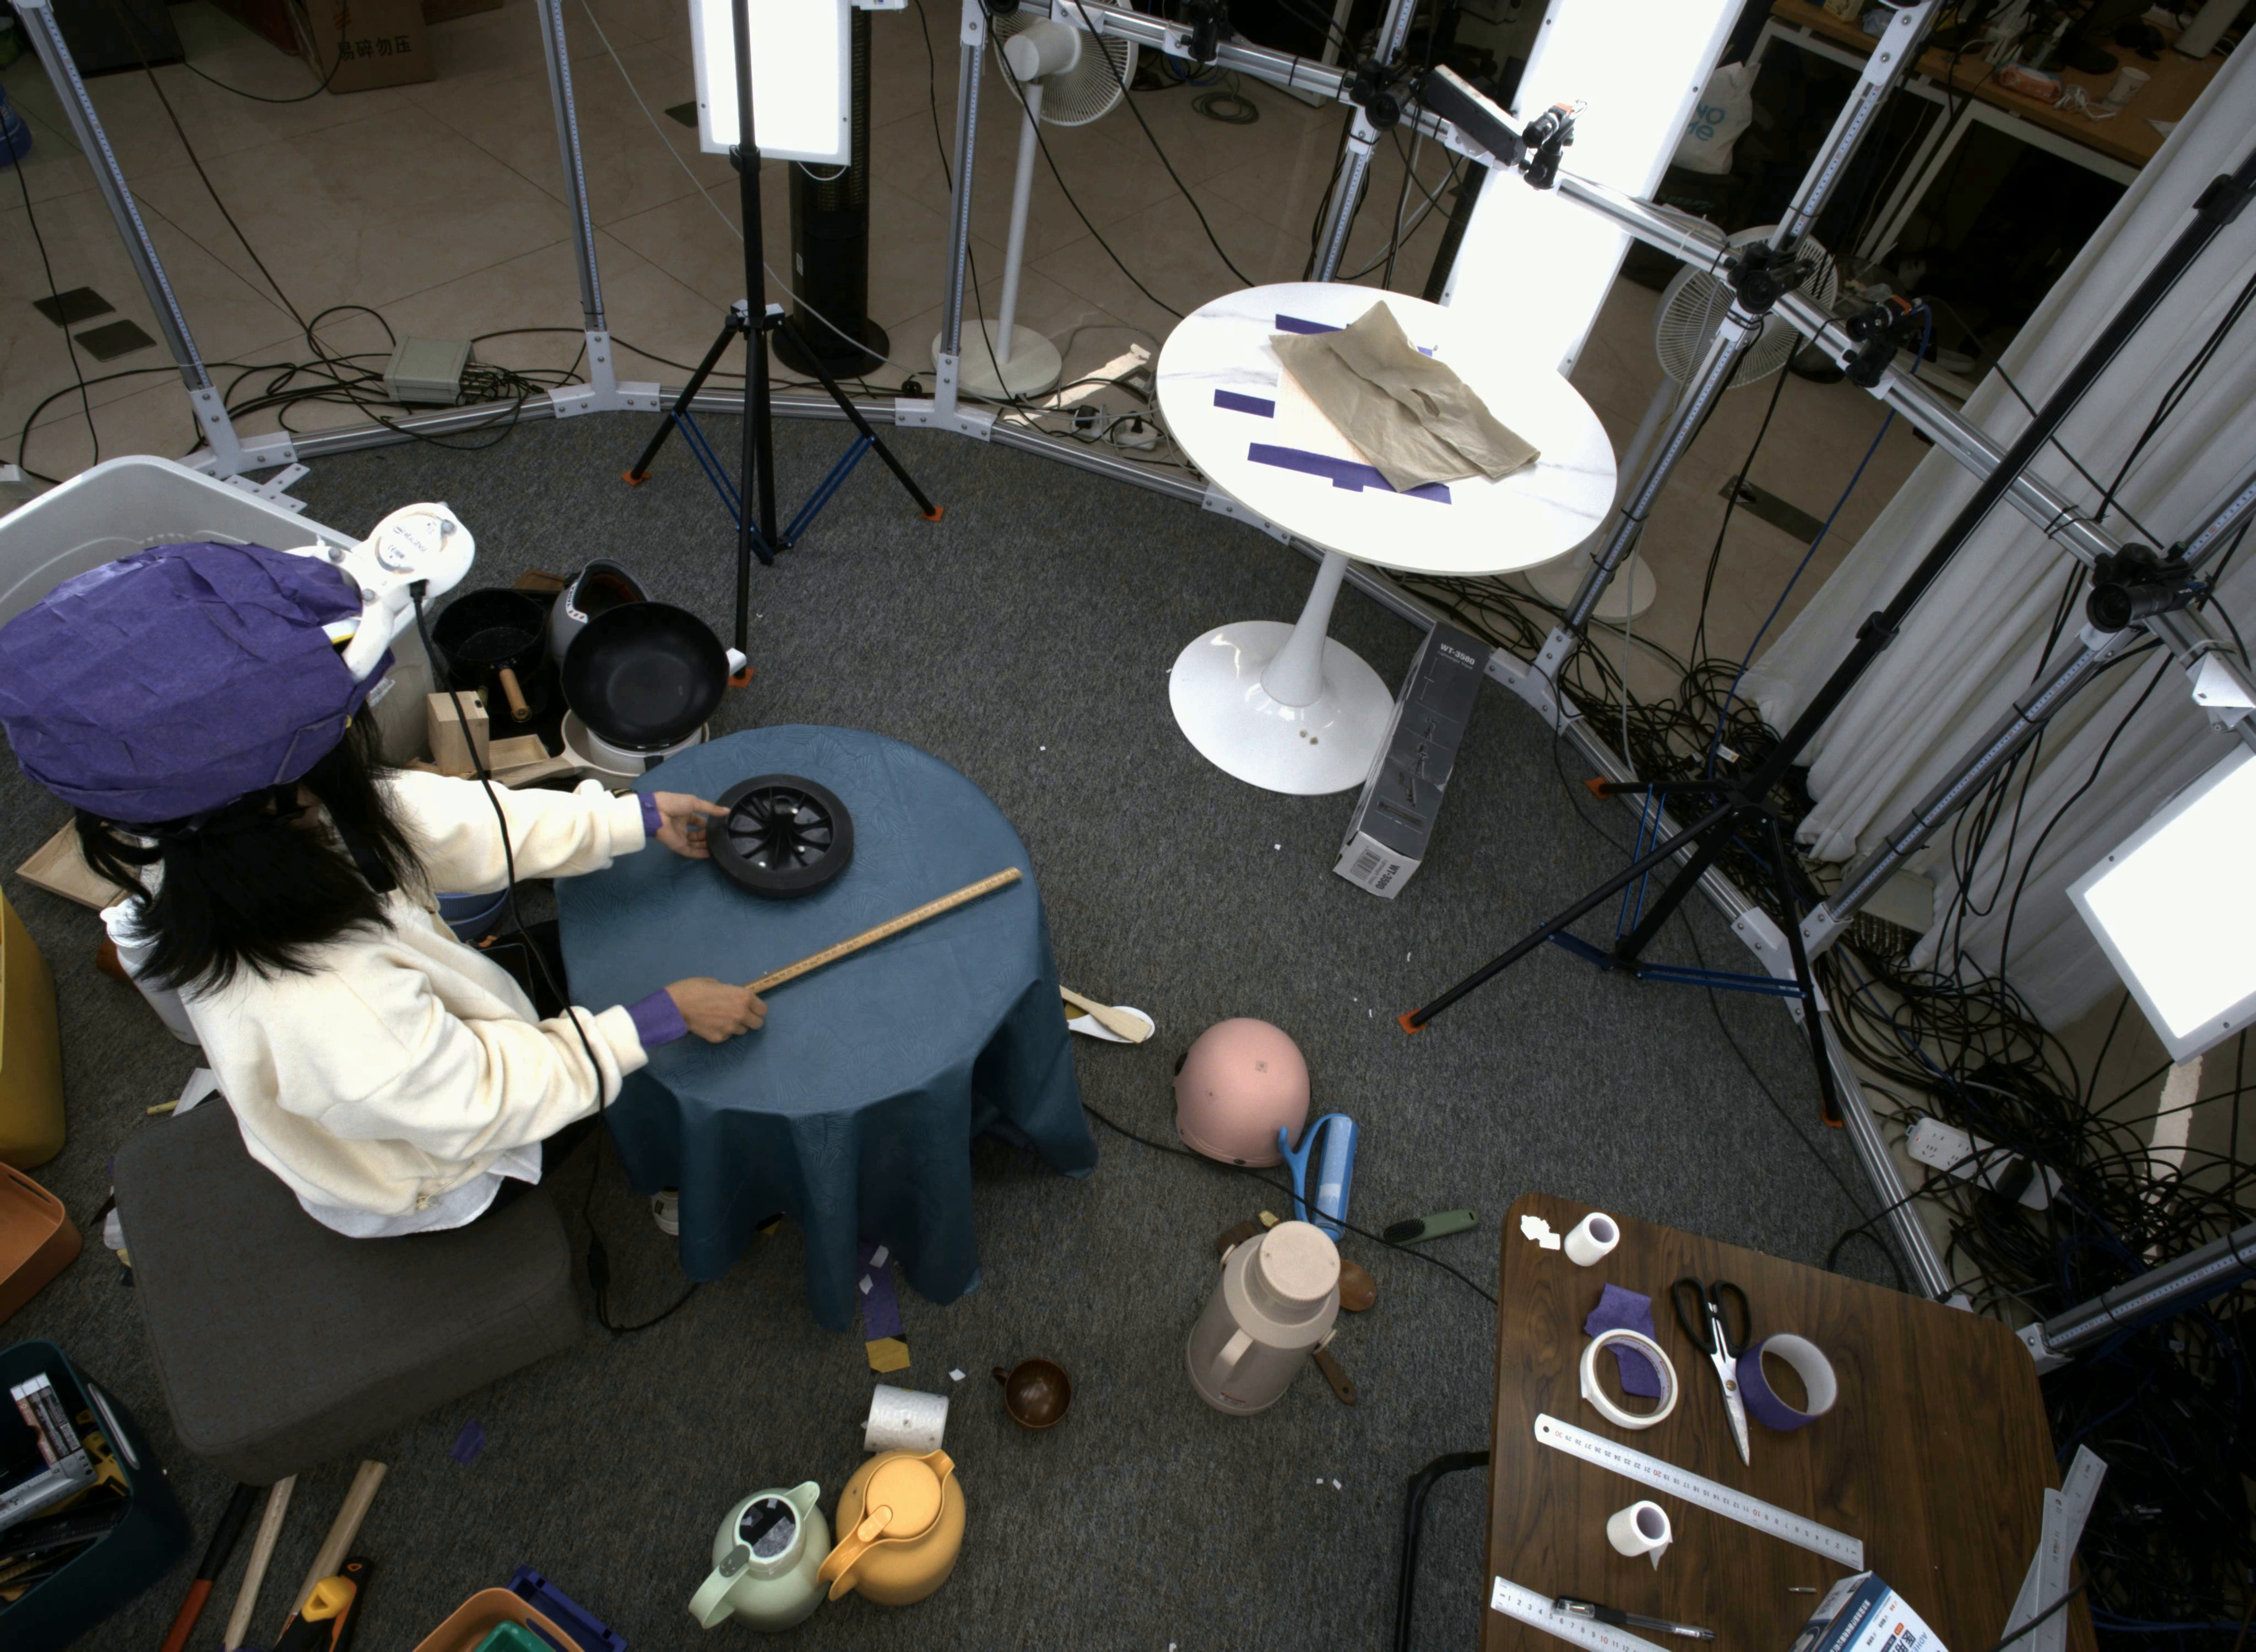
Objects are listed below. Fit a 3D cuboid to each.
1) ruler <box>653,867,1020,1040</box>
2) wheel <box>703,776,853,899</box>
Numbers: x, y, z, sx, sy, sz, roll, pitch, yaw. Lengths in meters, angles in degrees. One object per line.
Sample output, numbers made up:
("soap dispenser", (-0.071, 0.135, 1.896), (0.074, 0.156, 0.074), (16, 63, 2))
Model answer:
("ruler", (-0.350, 0.150, 1.619), (0.503, 0.006, 0.026), (-24, 45, -28))
("wheel", (-0.448, -0.002, 1.663), (0.188, 0.080, 0.186), (30, 50, 4))
